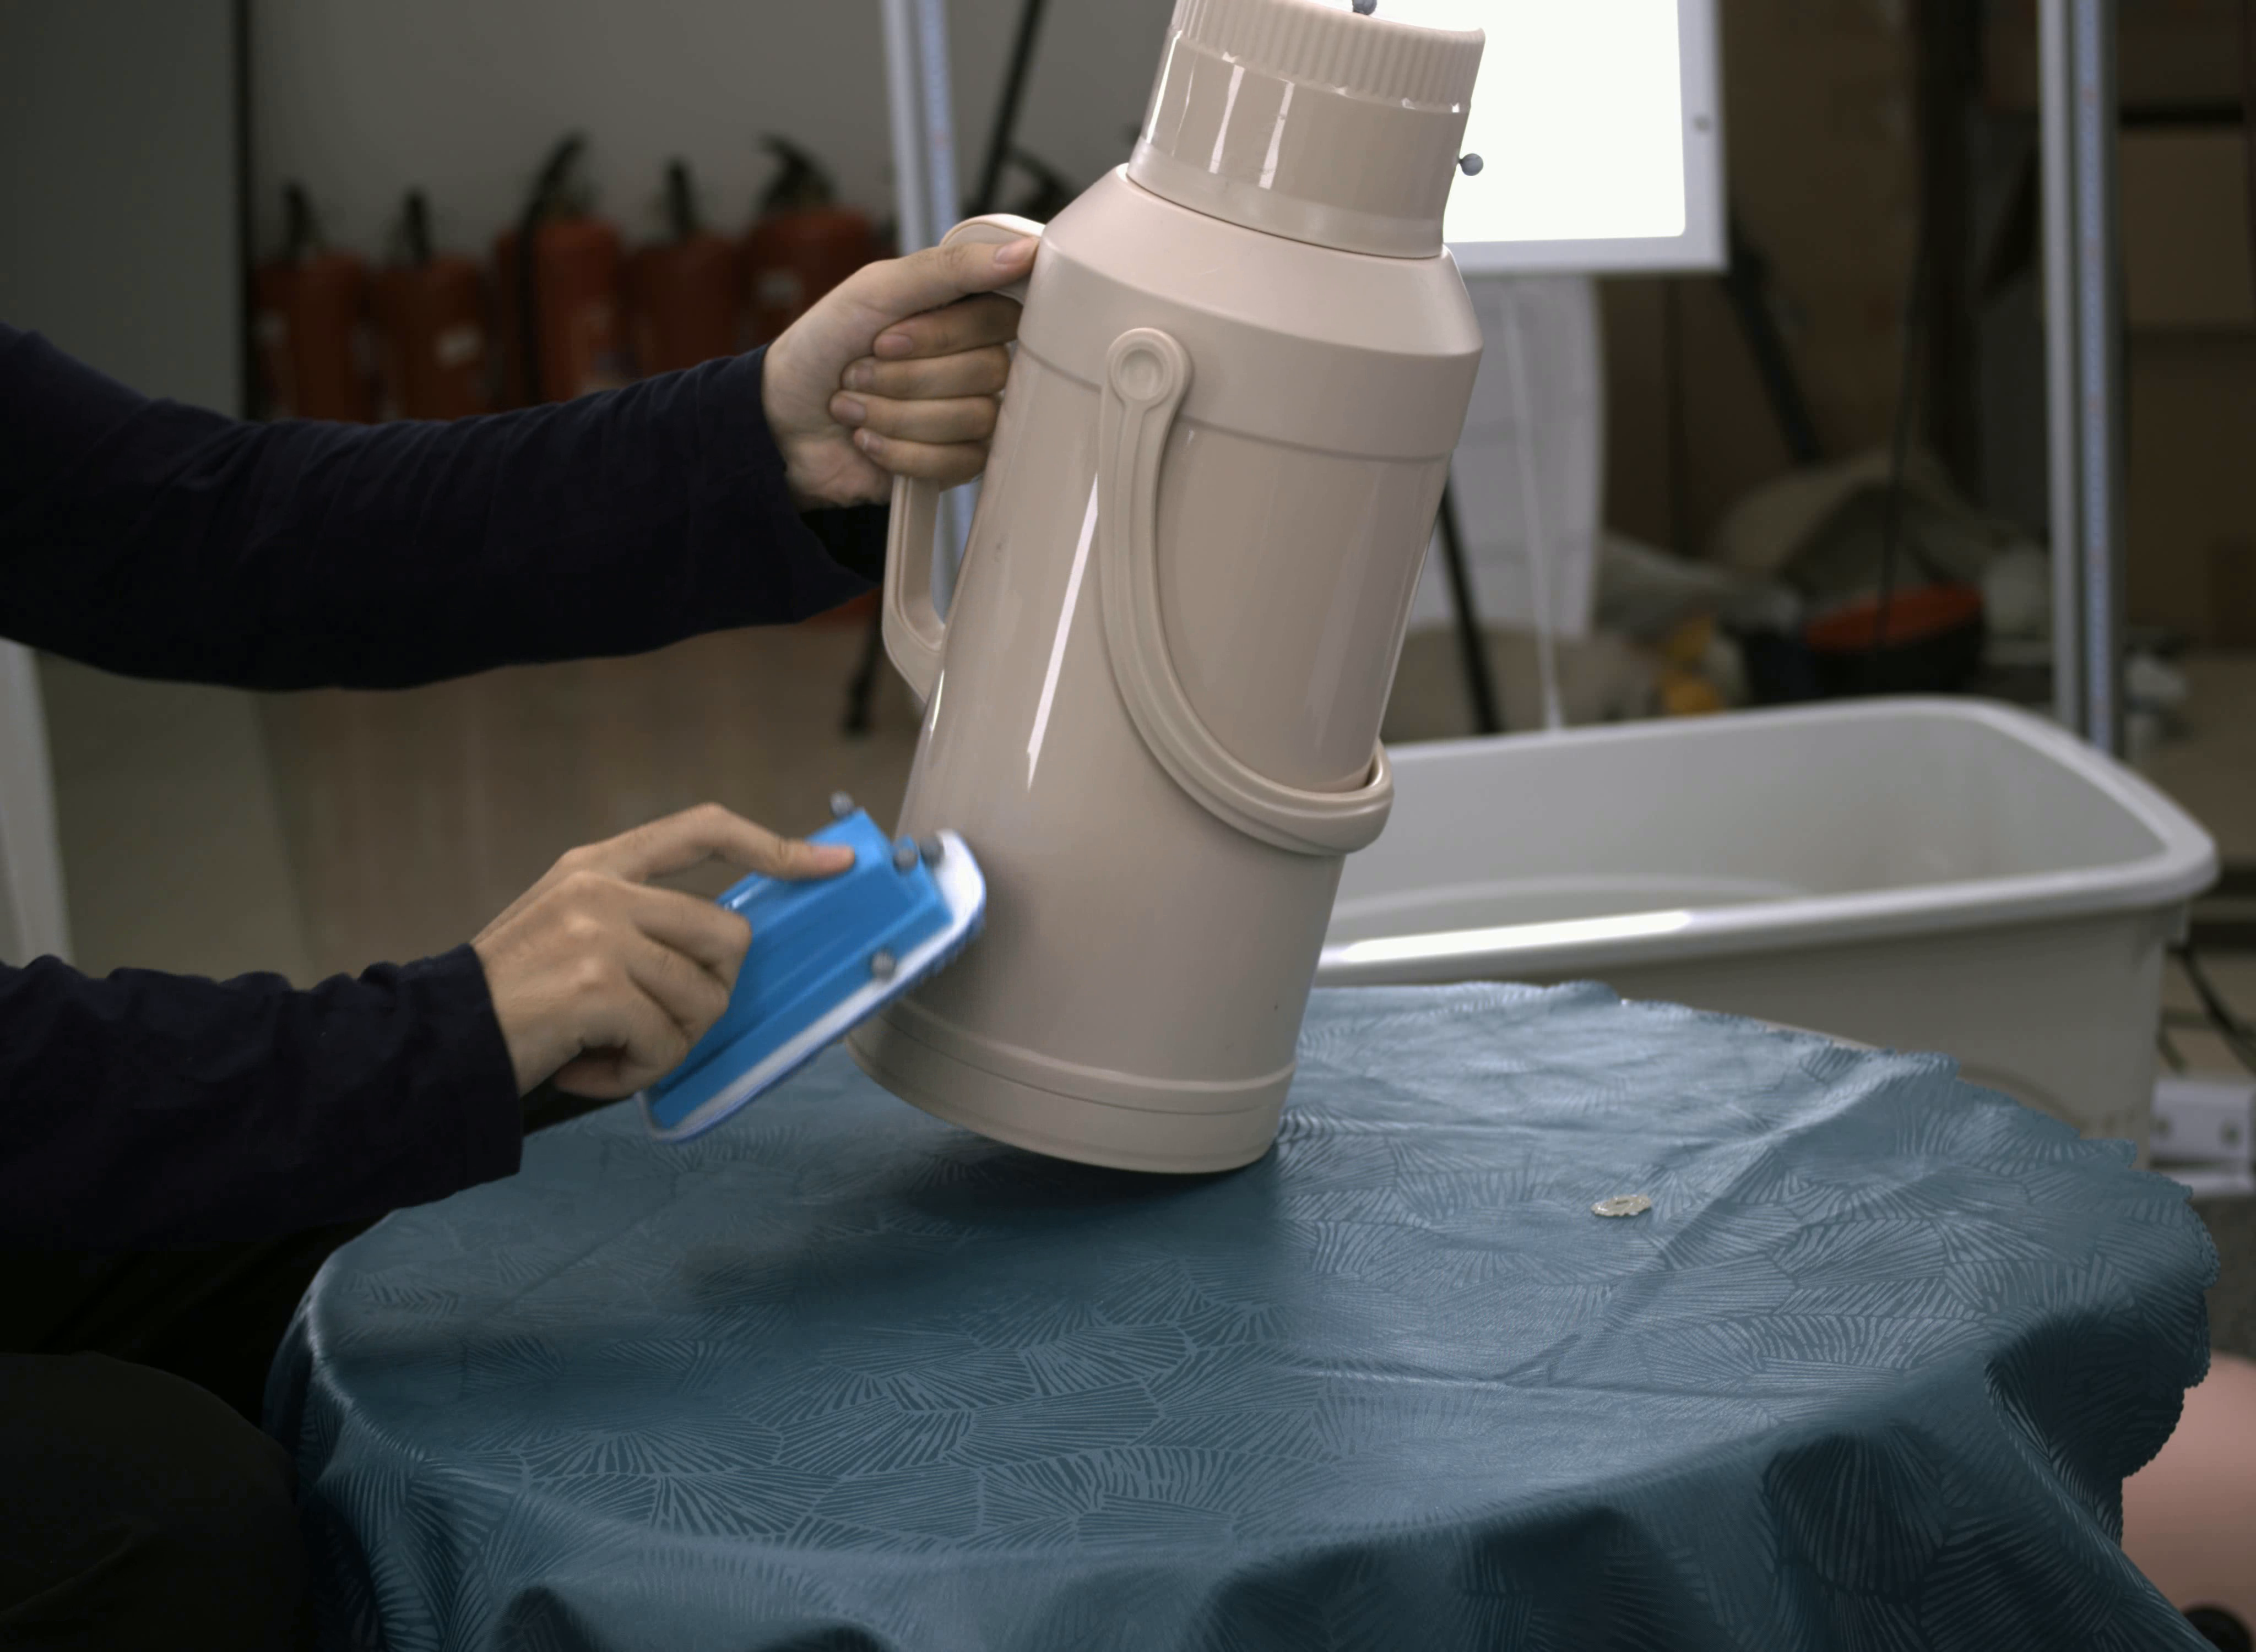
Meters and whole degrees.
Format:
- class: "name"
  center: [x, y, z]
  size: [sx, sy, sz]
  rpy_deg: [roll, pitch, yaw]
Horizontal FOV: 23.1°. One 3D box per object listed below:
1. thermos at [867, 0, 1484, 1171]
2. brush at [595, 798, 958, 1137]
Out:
- class: "thermos"
  center: [0.013, -0.098, 1.902]
  size: [0.209, 0.409, 0.172]
  rpy_deg: [19, 18, 21]
- class: "brush"
  center: [-0.125, 0.042, 1.841]
  size: [0.144, 0.055, 0.084]
  rpy_deg: [-34, 22, 6]
